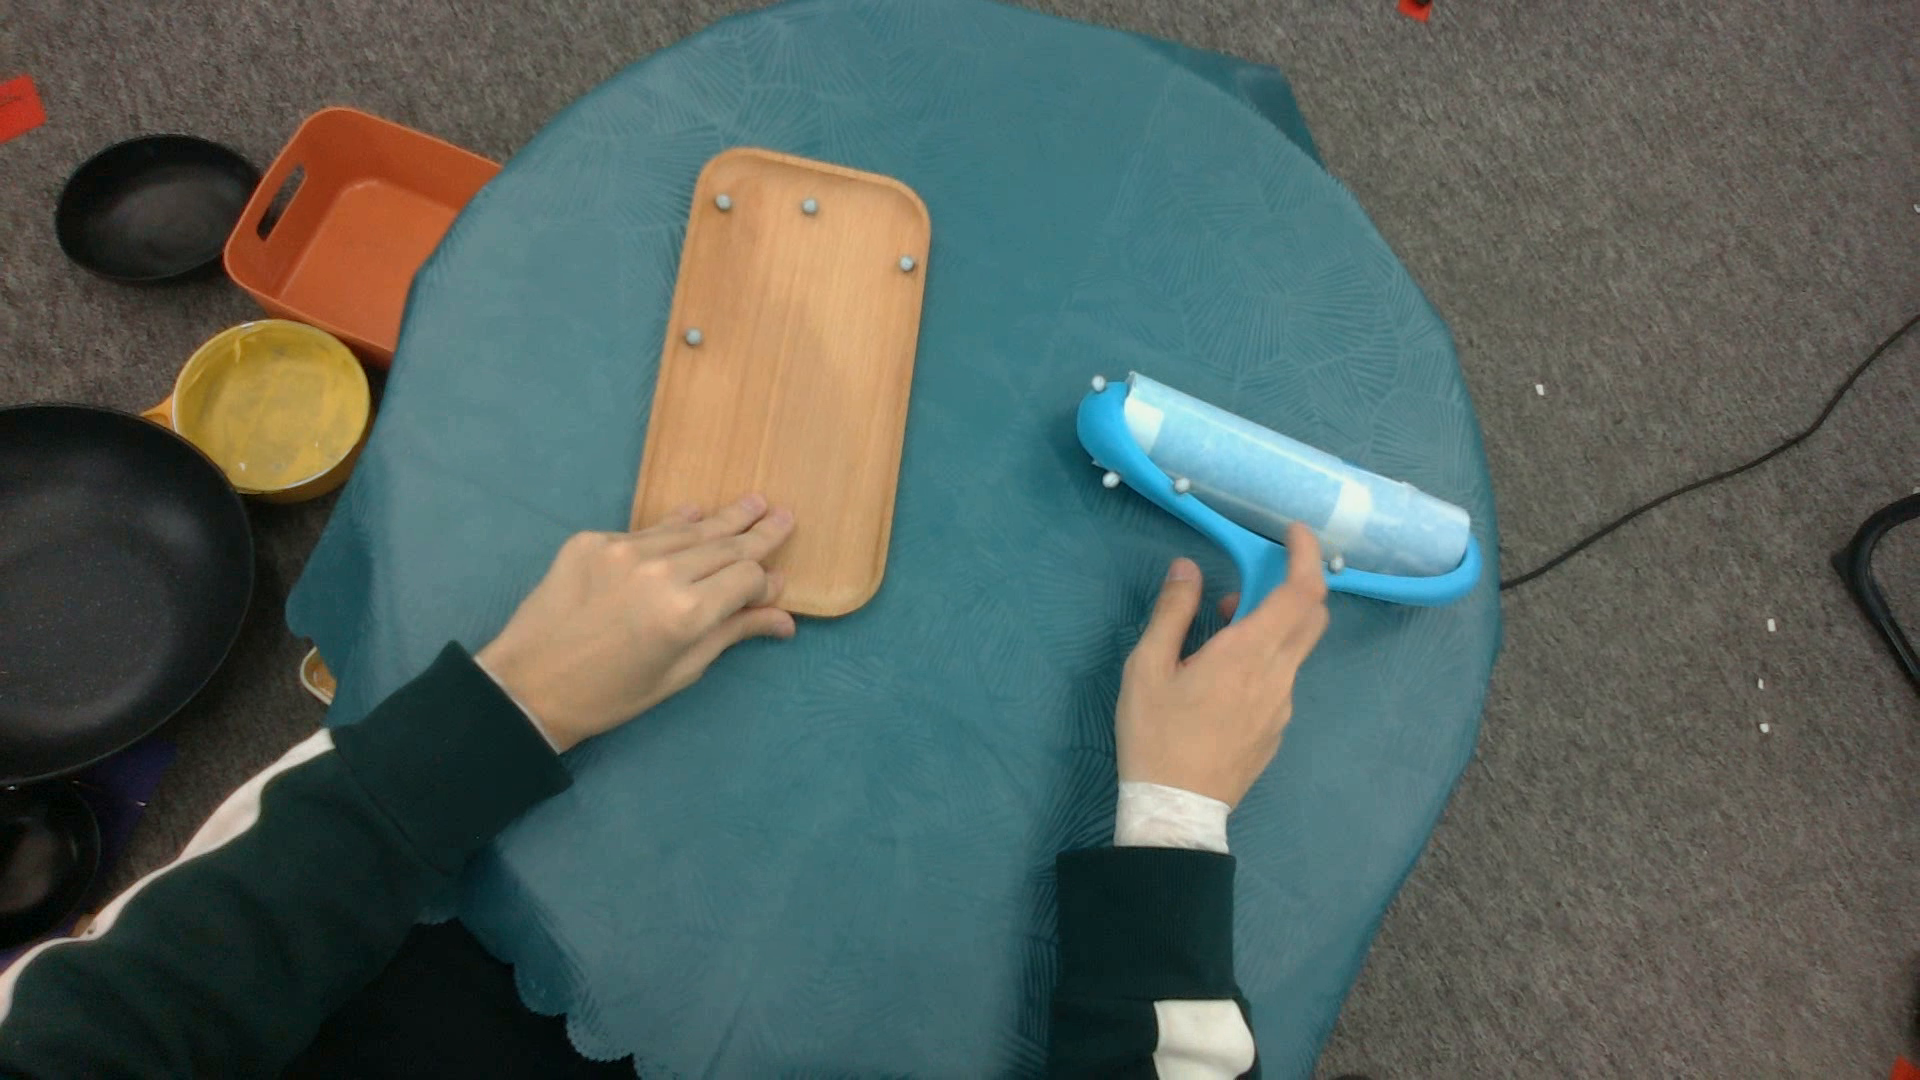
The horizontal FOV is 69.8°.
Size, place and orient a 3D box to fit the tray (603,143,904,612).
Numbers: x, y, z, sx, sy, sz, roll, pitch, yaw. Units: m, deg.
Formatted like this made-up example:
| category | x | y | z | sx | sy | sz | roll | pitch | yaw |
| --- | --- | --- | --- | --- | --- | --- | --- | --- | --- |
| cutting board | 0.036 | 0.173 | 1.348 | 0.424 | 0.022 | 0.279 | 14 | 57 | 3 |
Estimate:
| category | x | y | z | sx | sy | sz | roll | pitch | yaw |
| --- | --- | --- | --- | --- | --- | --- | --- | --- | --- |
| tray | -0.102 | -0.087 | 0.709 | 0.130 | 0.023 | 0.251 | 8 | 71 | -8 |

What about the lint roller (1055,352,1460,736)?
| category | x | y | z | sx | sy | sz | roll | pitch | yaw |
| --- | --- | --- | --- | --- | --- | --- | --- | --- | --- |
| lint roller | 0.144 | 0.012 | 0.710 | 0.229 | 0.067 | 0.181 | 18 | 68 | -8 |
